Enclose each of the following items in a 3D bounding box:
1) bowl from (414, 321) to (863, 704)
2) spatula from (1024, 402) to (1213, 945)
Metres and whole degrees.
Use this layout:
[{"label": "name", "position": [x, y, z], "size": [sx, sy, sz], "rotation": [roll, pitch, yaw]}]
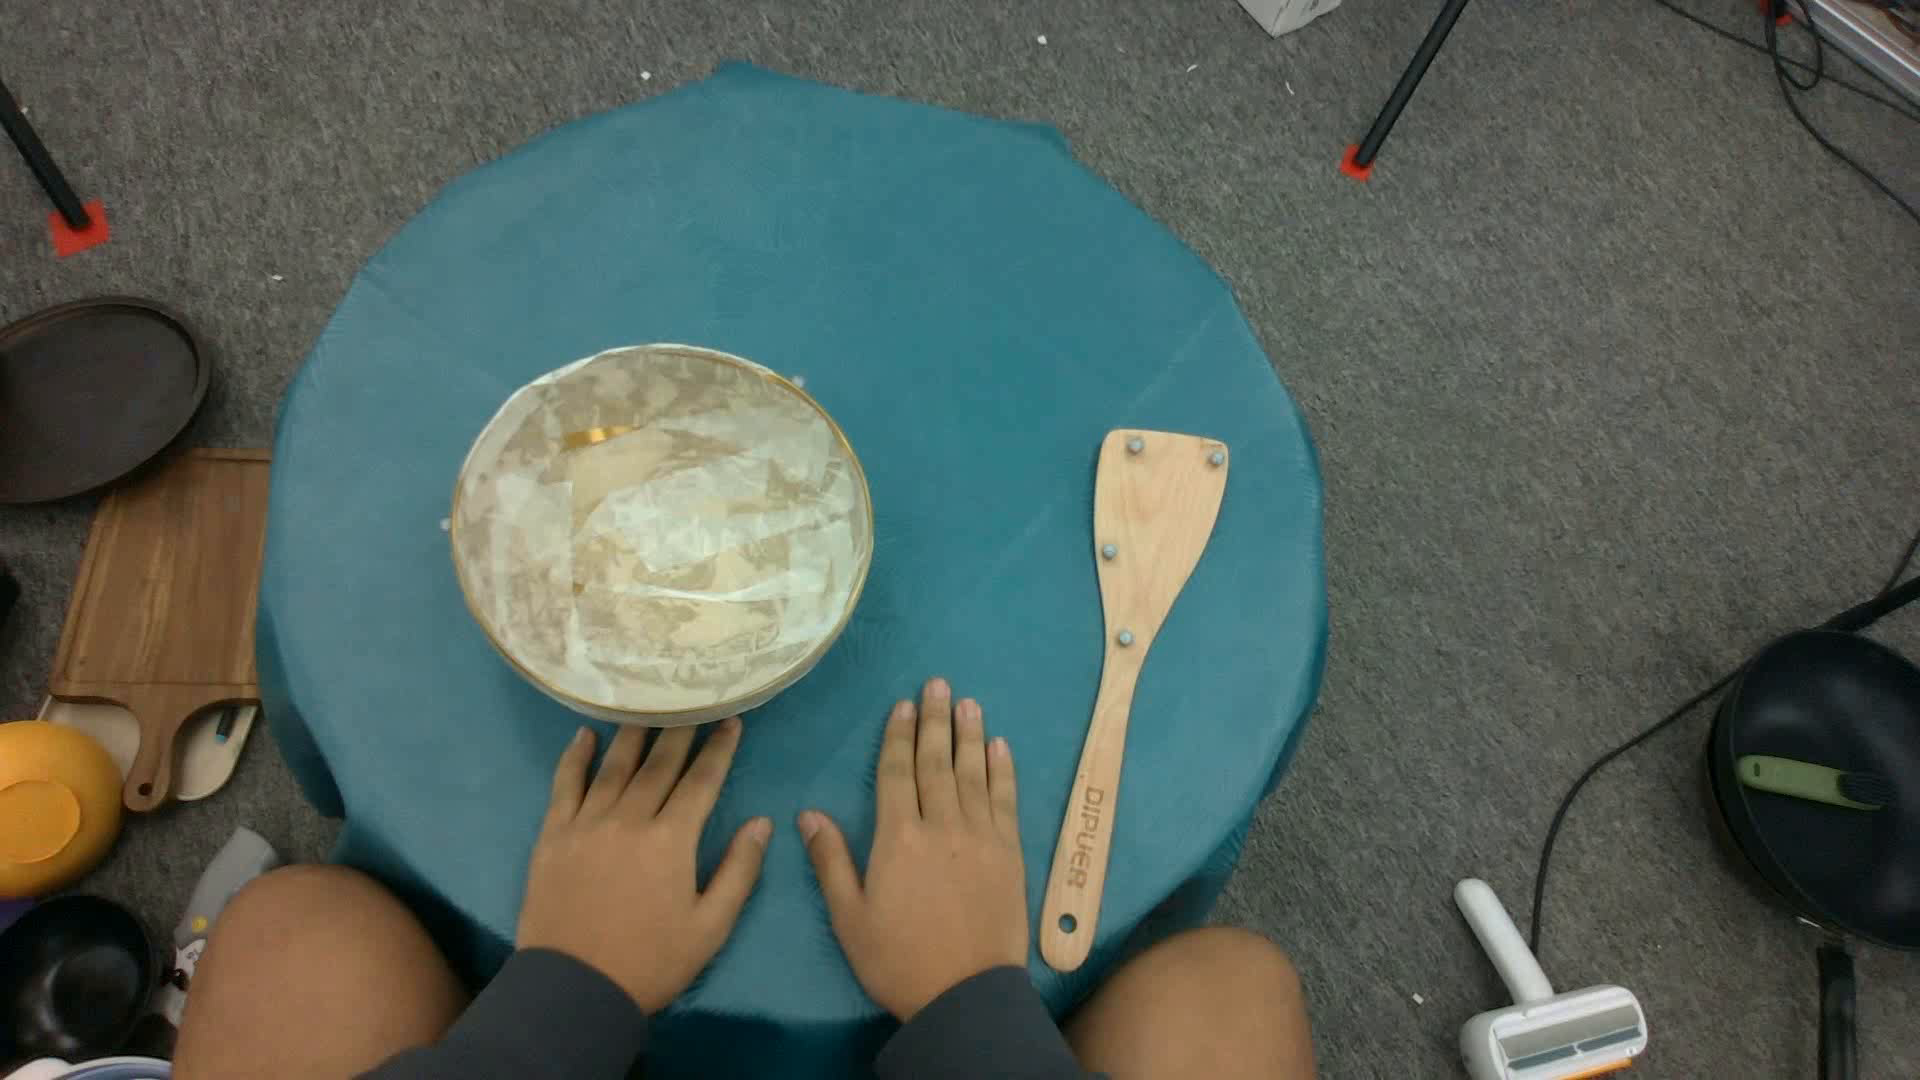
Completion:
[{"label": "bowl", "position": [-0.157, 0.000, 0.700], "size": [0.215, 0.094, 0.215], "rotation": [5, 62, -9]}, {"label": "spatula", "position": [0.079, 0.059, 0.761], "size": [0.080, 0.016, 0.329], "rotation": [17, 62, -3]}]
